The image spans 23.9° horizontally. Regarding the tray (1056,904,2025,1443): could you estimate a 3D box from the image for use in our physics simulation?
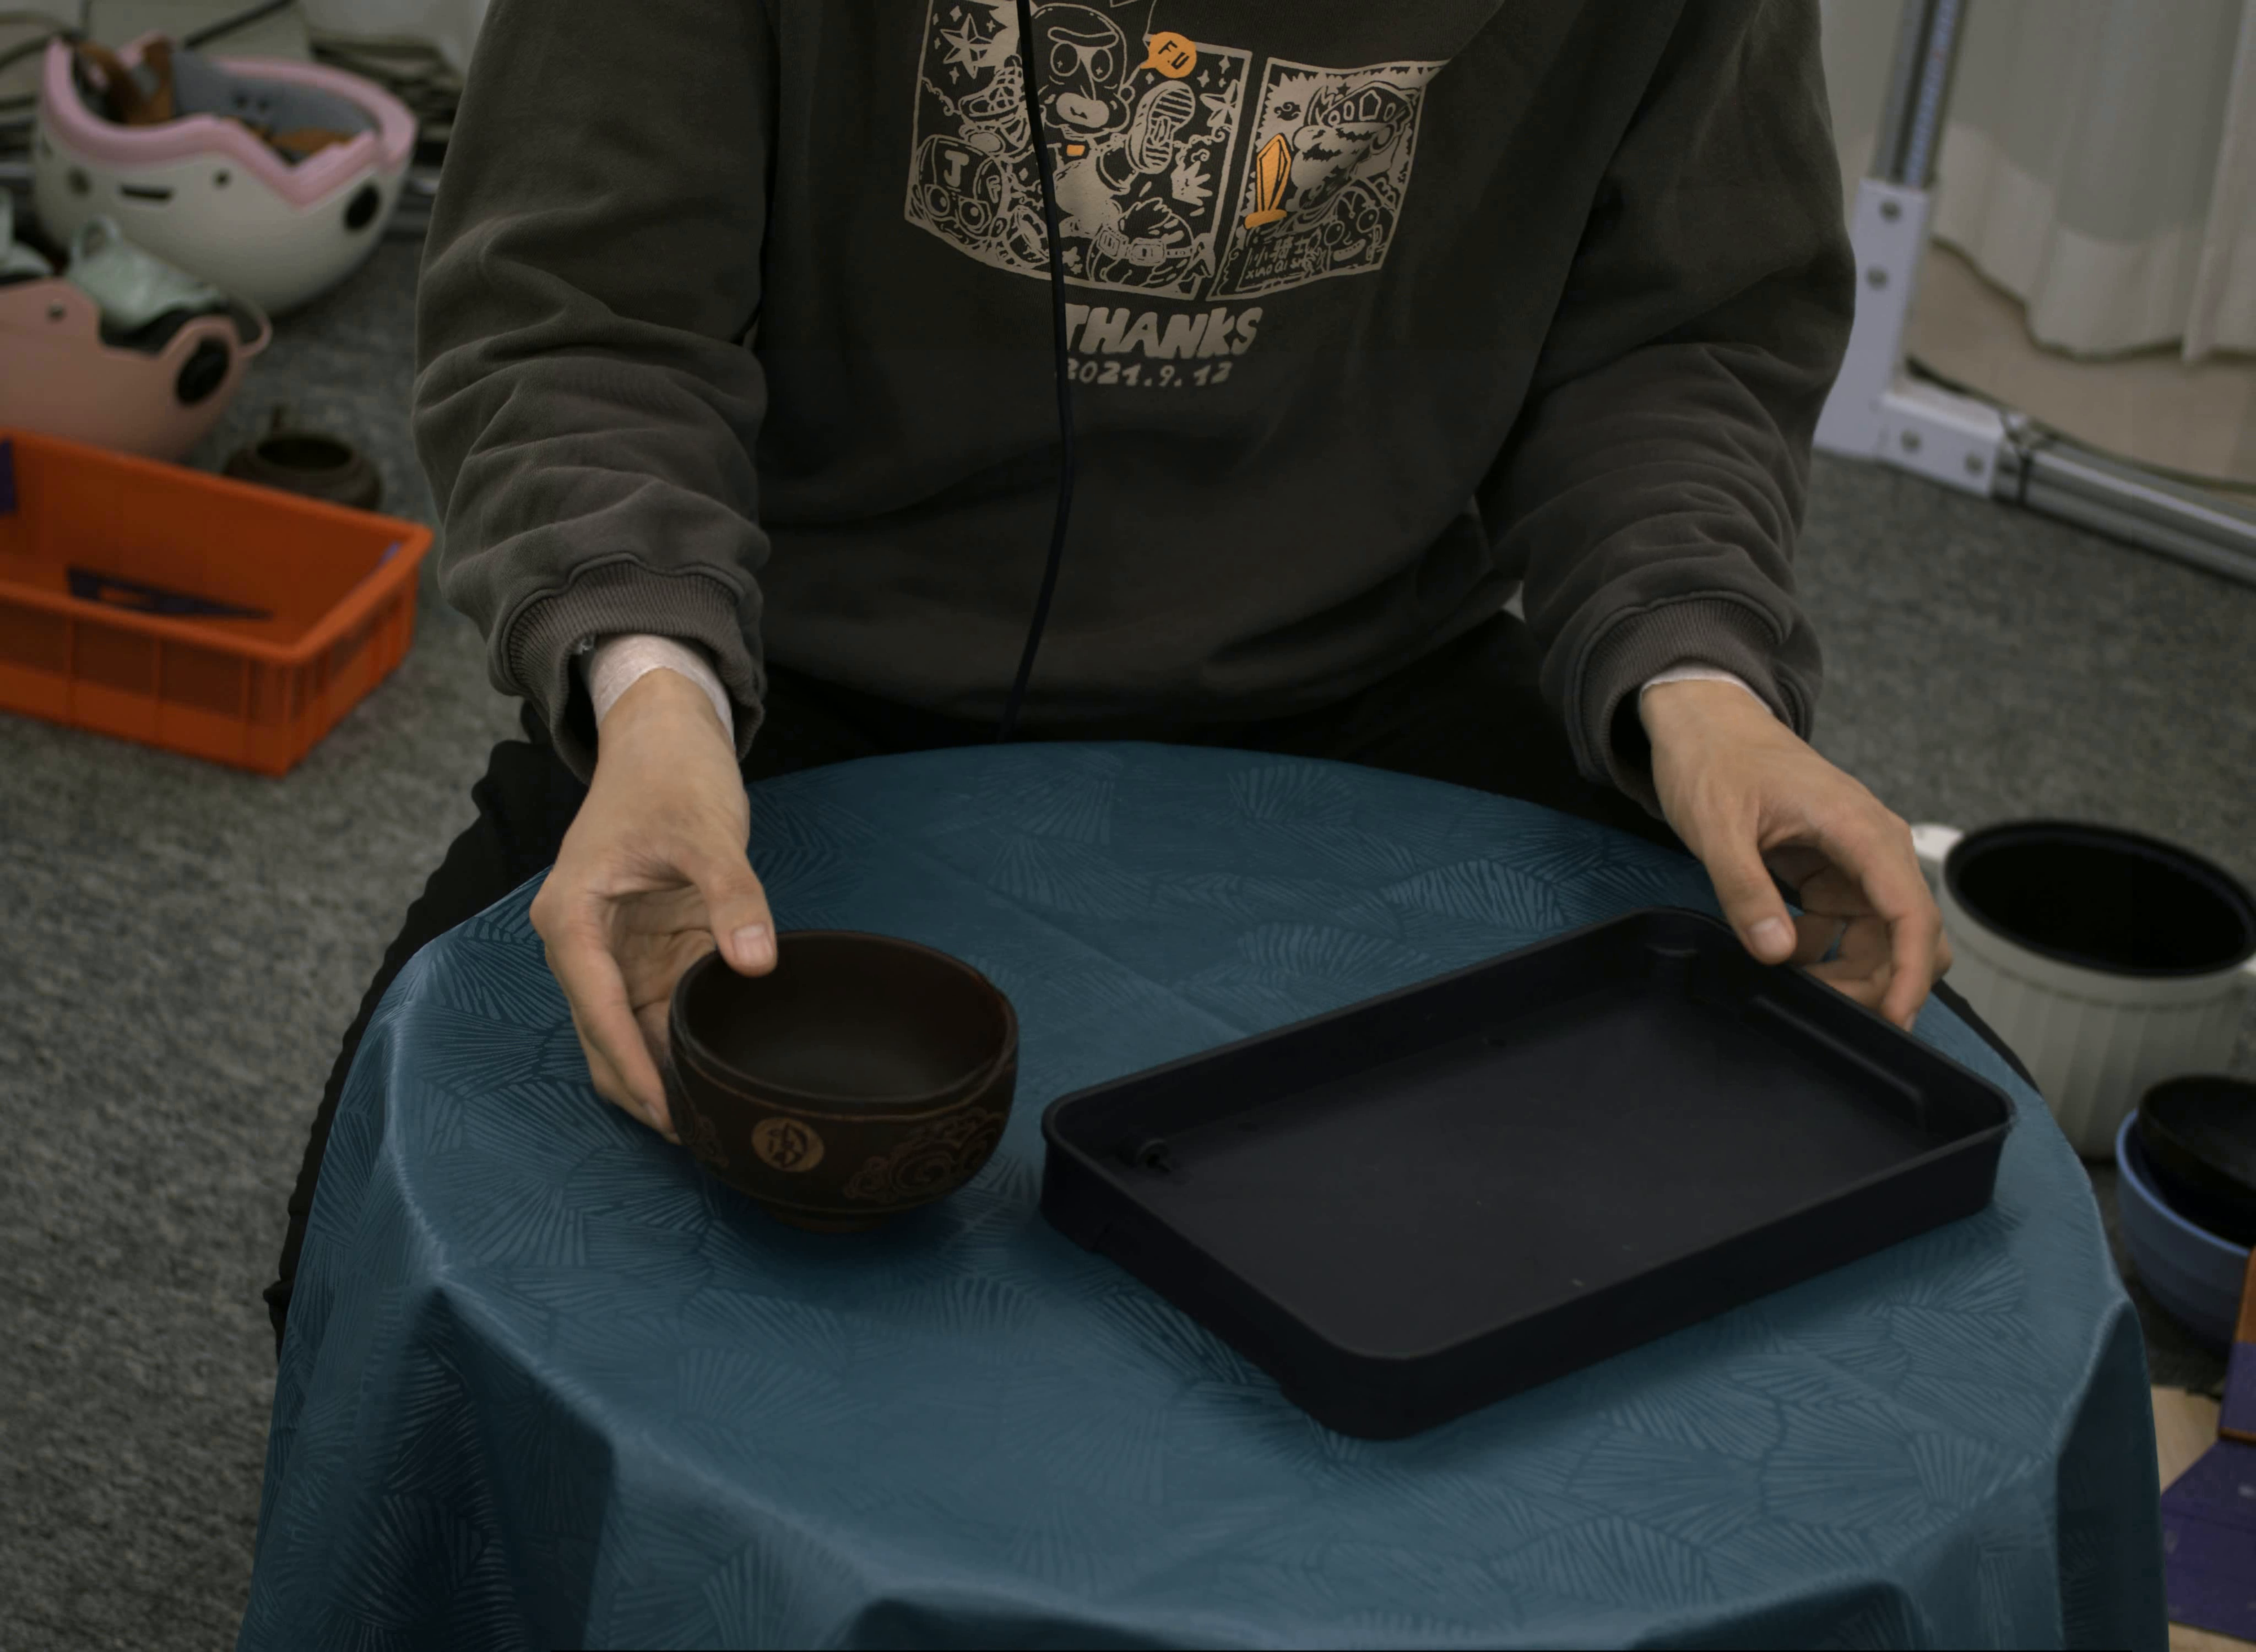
[{"bbox_3d":[0.143,0.112,1.820,0.316,0.037,0.186,-18,35,-38],"label":"tray"}]

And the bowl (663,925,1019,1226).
[{"bbox_3d":[-0.097,0.090,1.769,0.117,0.069,0.119,6,25,-3],"label":"bowl"}]
